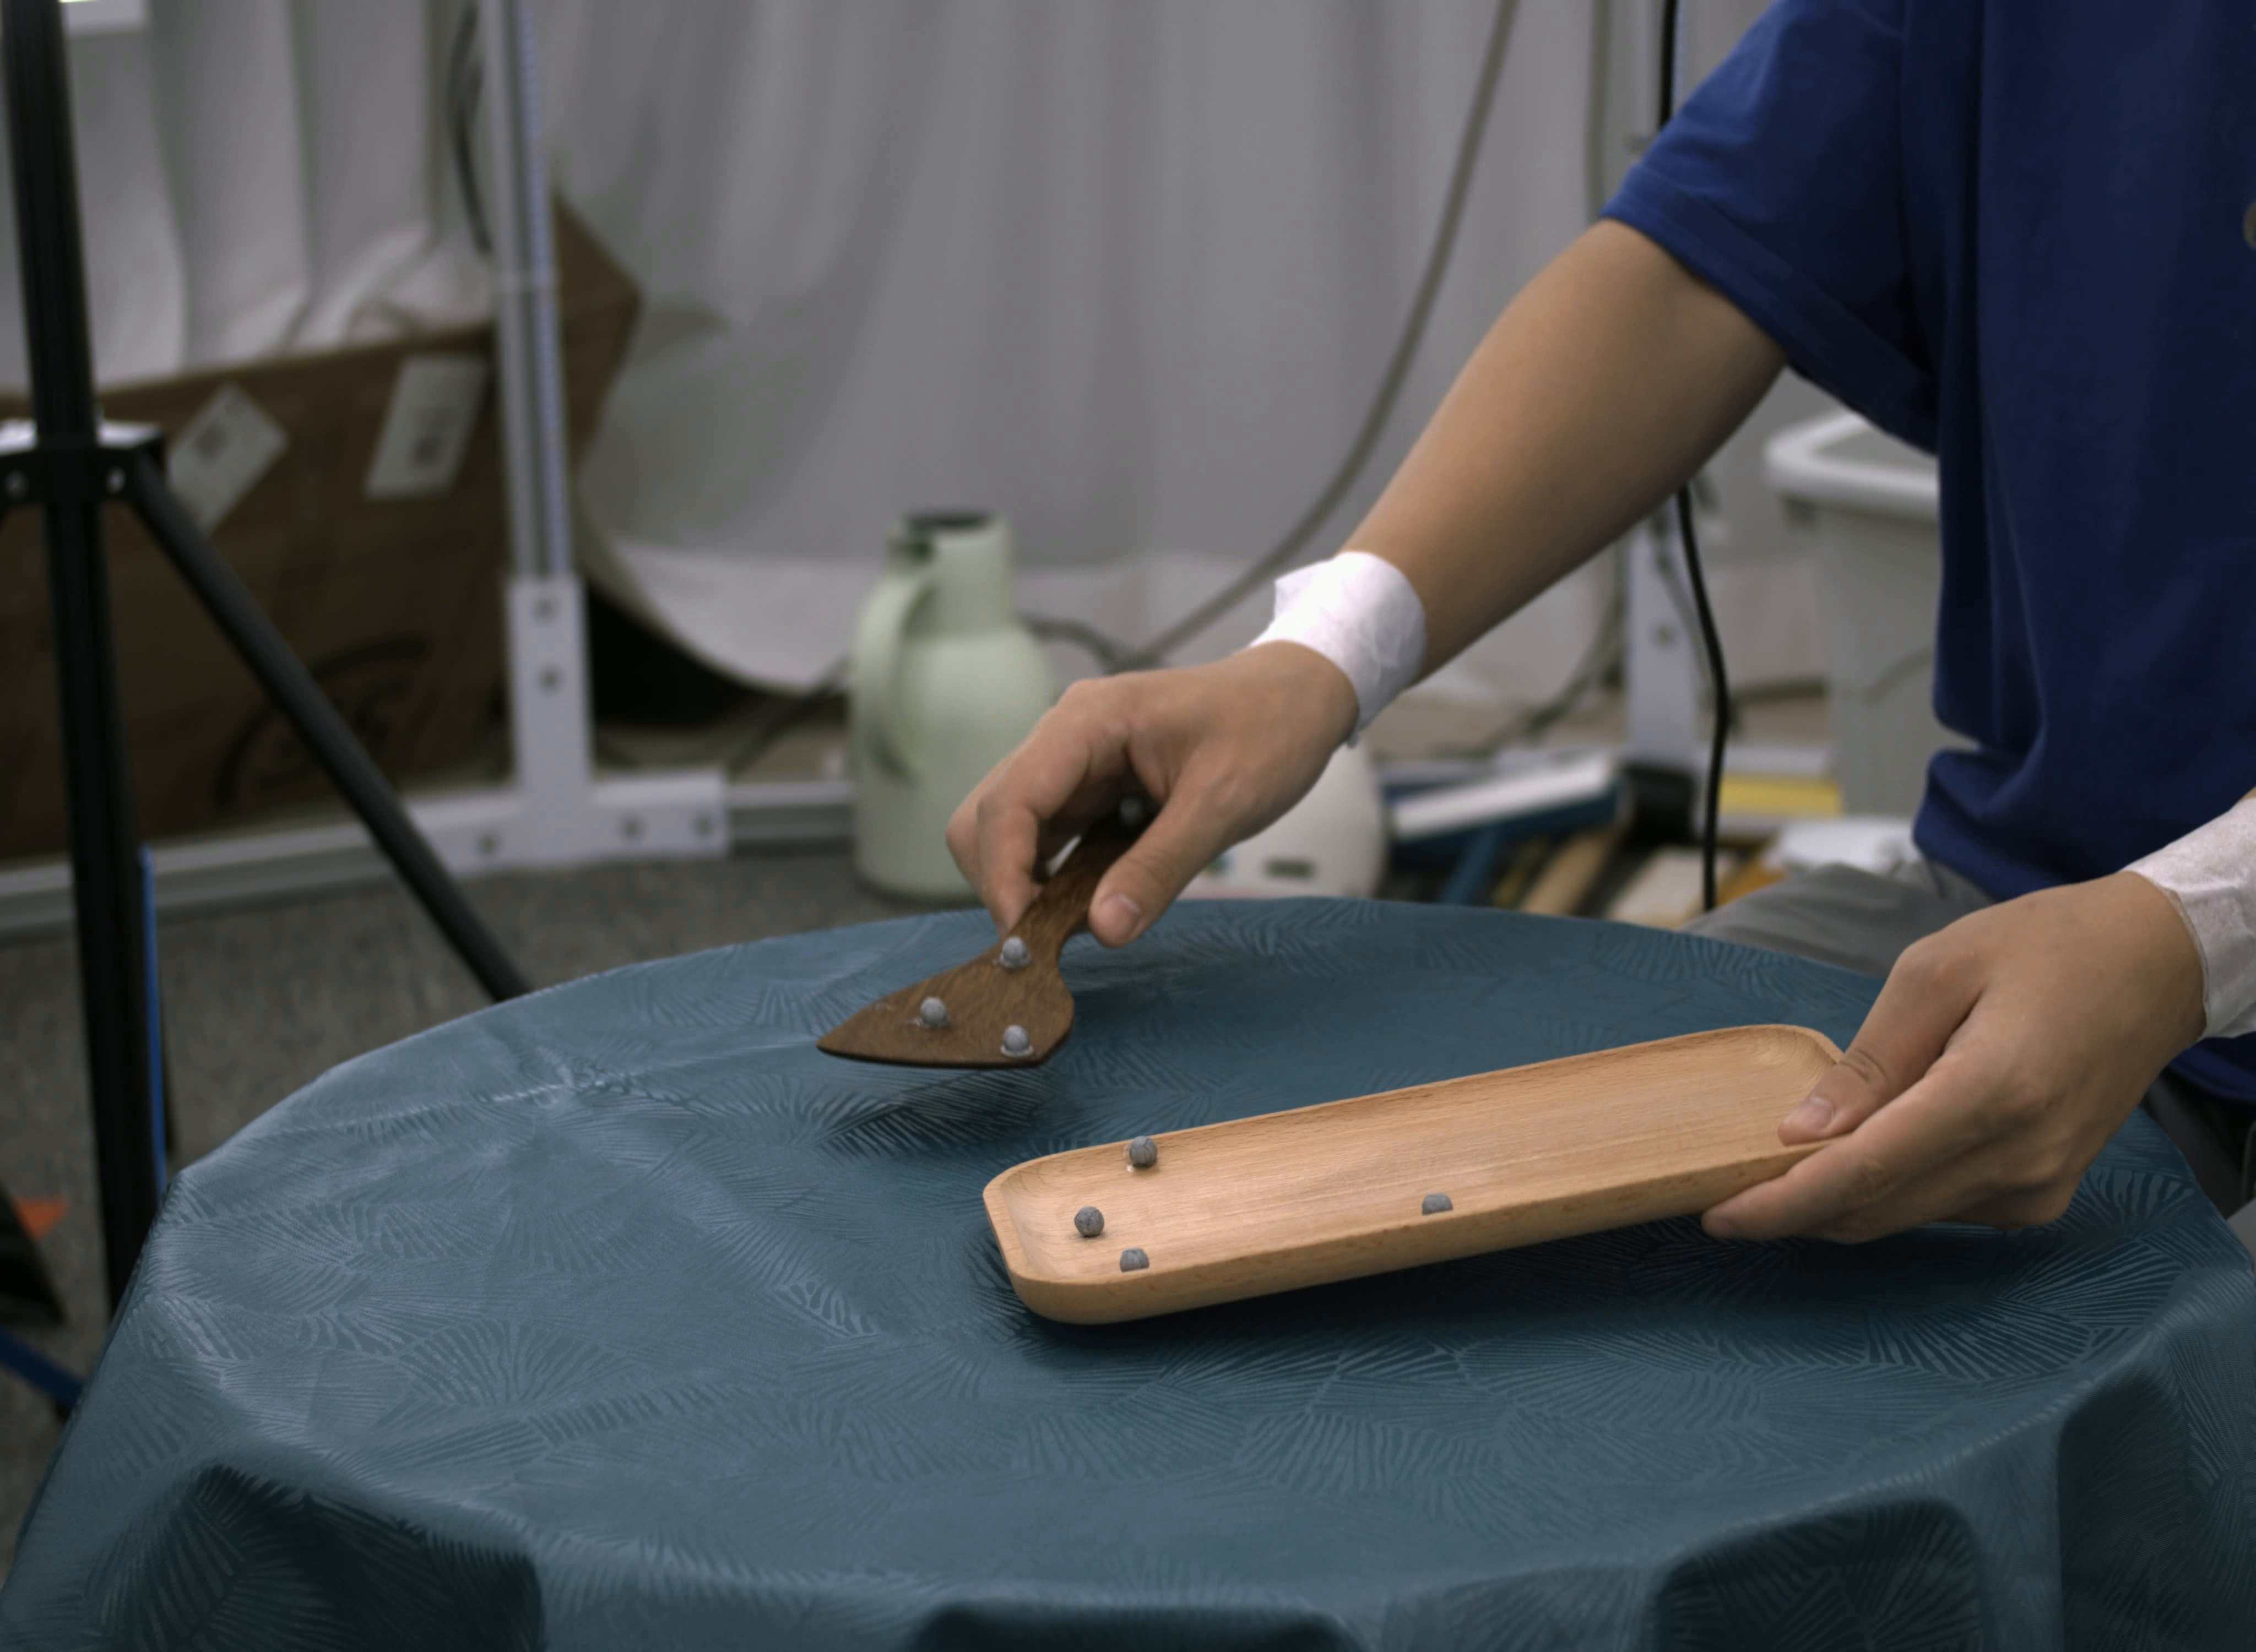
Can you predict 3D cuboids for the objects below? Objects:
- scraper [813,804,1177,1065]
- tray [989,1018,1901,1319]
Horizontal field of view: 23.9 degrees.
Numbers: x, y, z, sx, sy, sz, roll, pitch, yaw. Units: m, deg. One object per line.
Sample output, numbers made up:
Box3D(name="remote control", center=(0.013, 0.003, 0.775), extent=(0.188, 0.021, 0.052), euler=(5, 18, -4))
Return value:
Box3D(name="scraper", center=(-0.029, 0.034, 1.691), extent=(0.077, 0.011, 0.209), euler=(3, 23, 21))
Box3D(name="tray", center=(0.088, 0.096, 1.491), extent=(0.249, 0.023, 0.131), euler=(-10, 15, -2))
